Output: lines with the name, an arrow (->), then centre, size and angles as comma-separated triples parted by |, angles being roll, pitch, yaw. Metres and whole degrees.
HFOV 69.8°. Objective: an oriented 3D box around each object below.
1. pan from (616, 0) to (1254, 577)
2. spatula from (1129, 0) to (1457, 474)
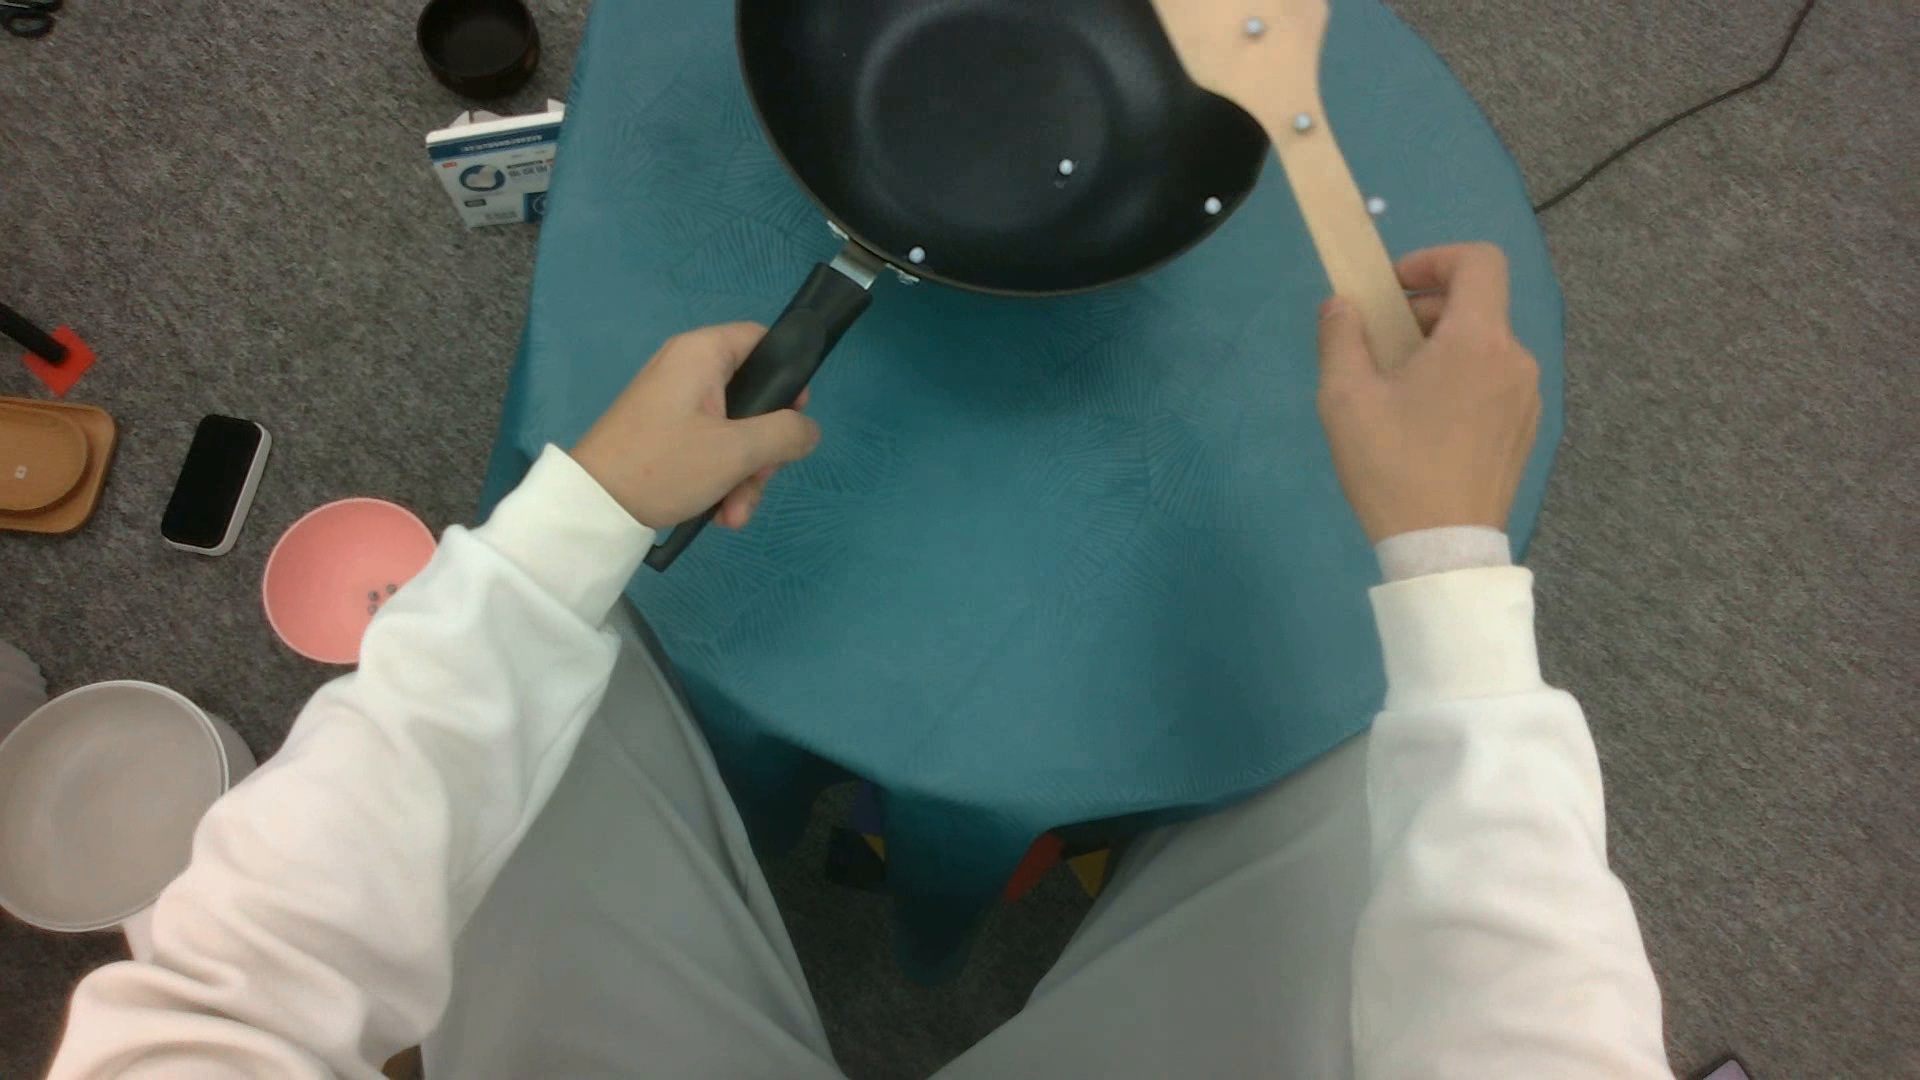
pan -> -0.030, -0.168, 0.730 | 0.288, 0.086, 0.464 | 31, 76, 2
spatula -> 0.162, -0.167, 0.649 | 0.072, 0.010, 0.293 | -26, 83, 18
